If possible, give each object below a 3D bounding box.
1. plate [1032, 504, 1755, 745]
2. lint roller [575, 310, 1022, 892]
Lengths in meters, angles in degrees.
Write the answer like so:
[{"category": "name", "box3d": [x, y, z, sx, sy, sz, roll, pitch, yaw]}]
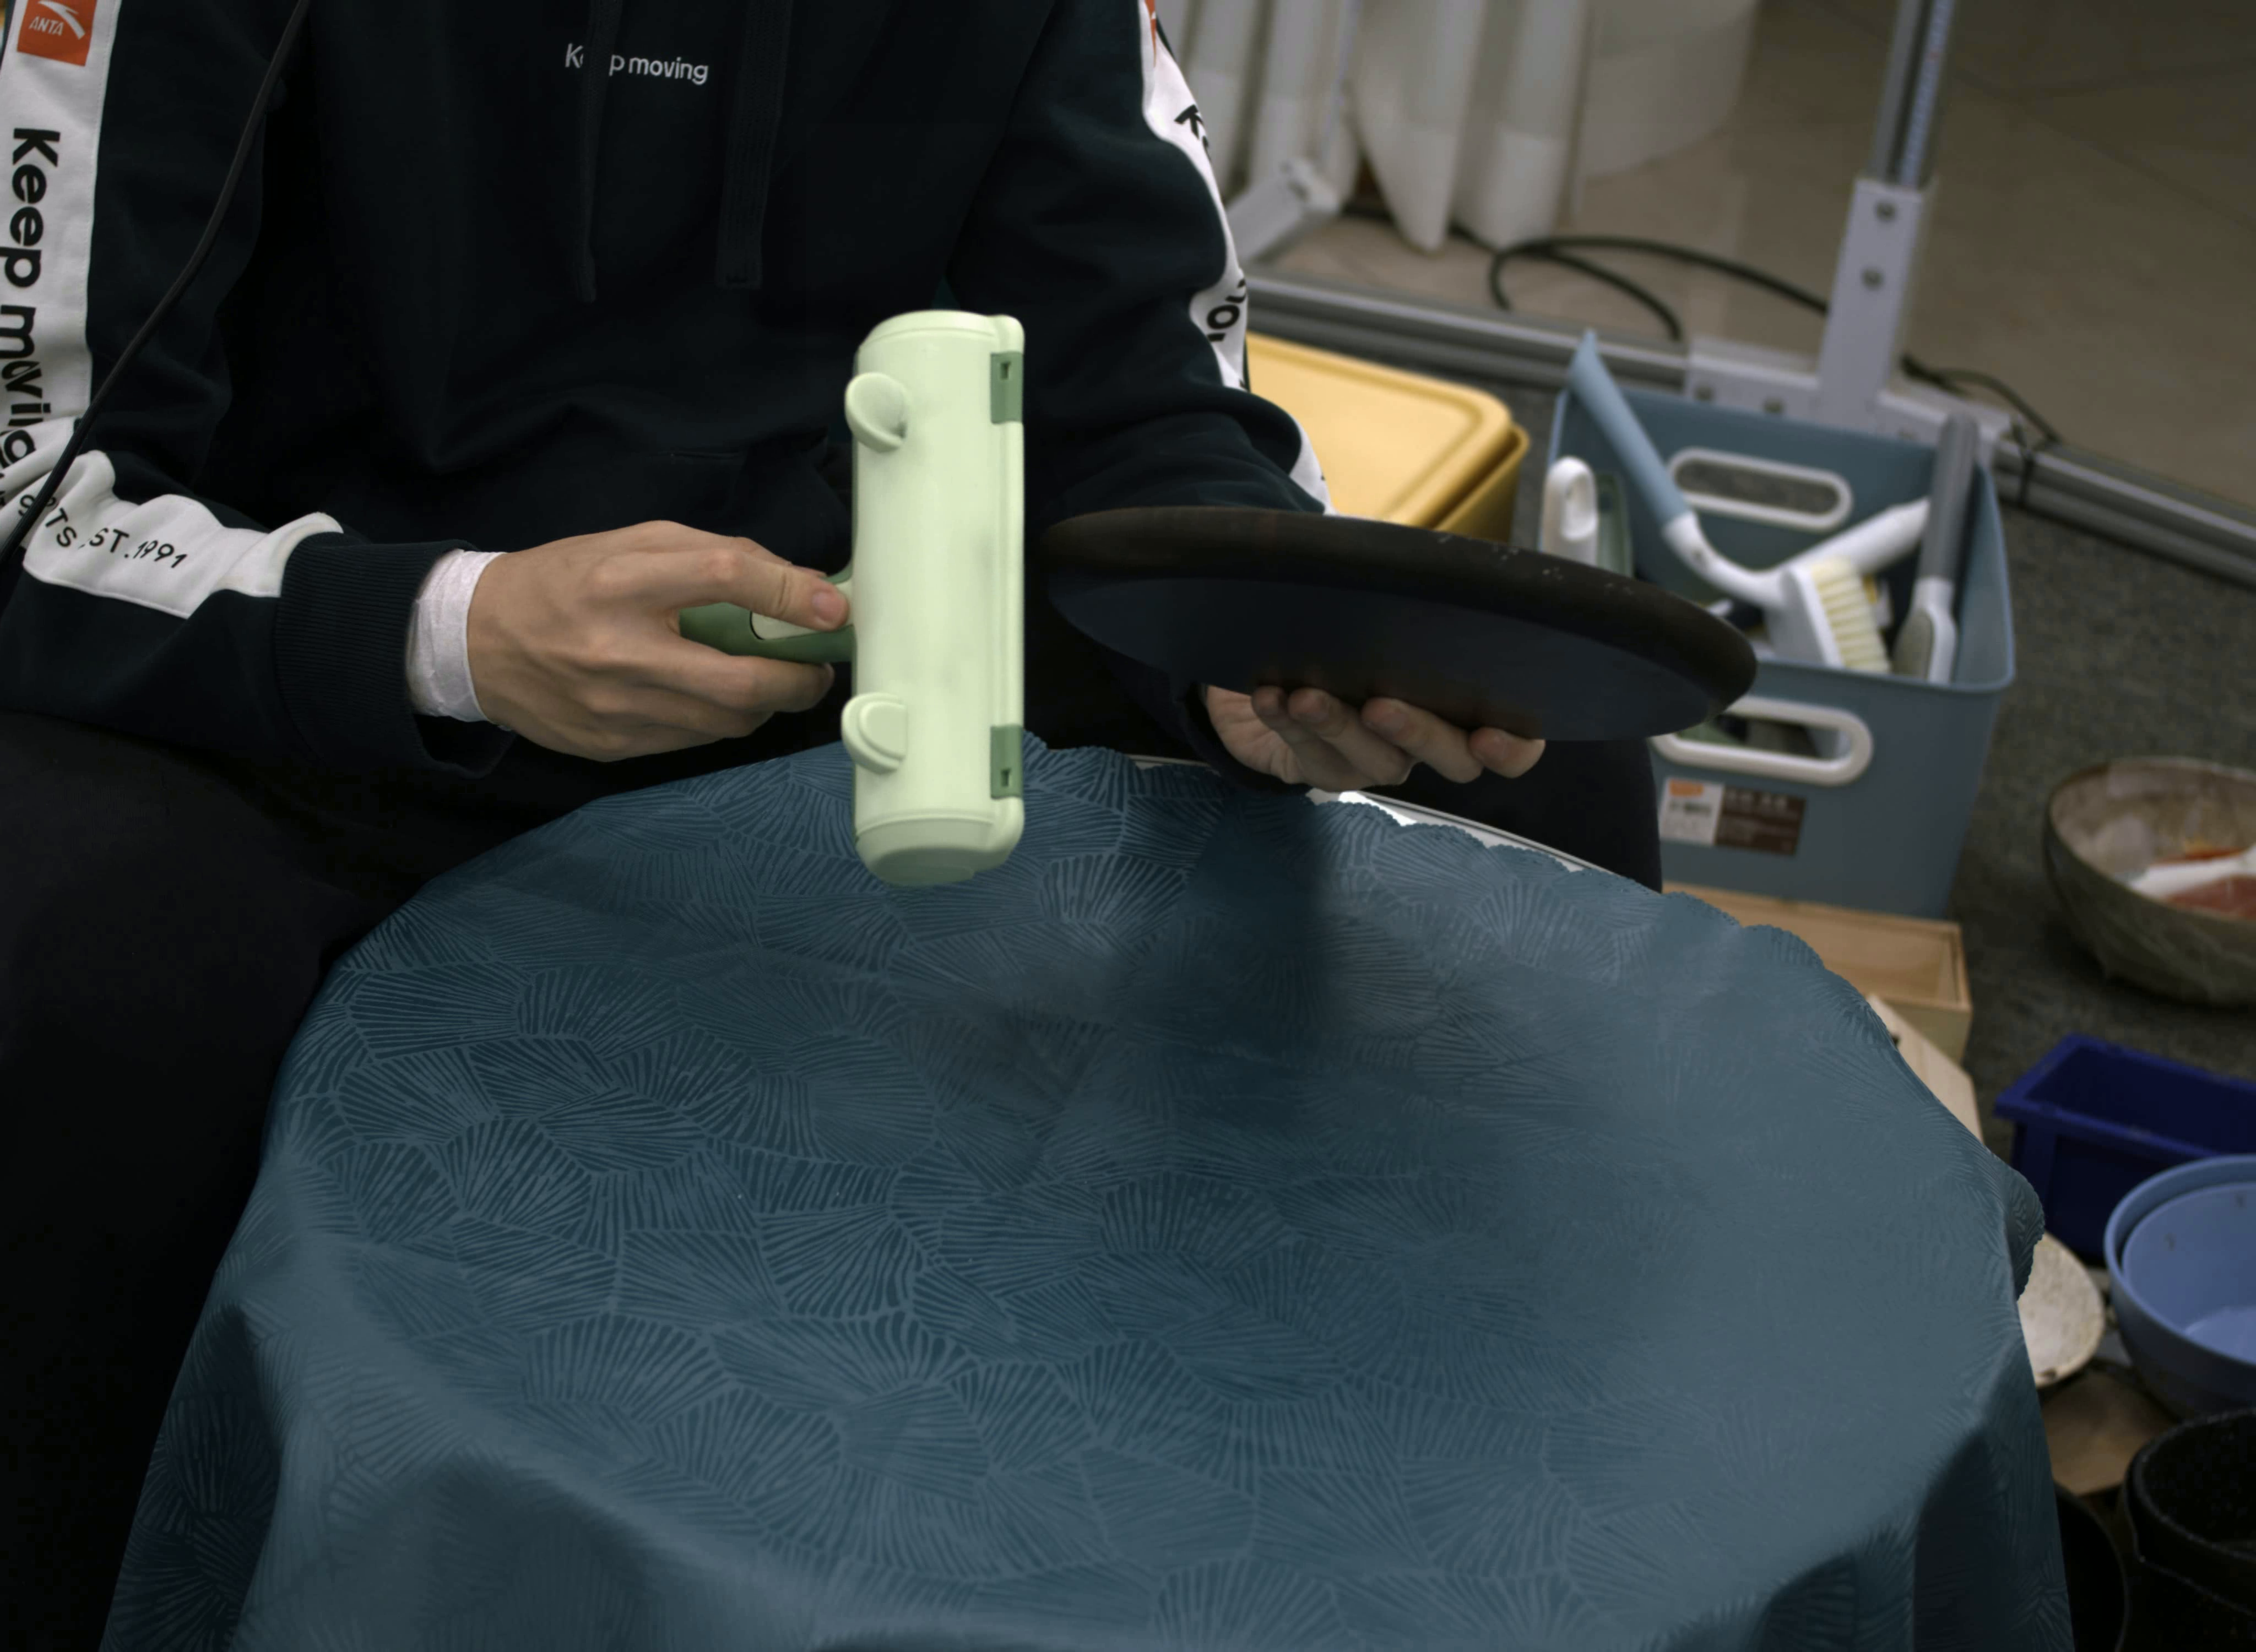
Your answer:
[{"category": "plate", "box3d": [0.090, -0.067, 1.842, 0.254, 0.029, 0.254, 9, -8, 1]}, {"category": "lint roller", "box3d": [-0.121, -0.073, 1.830, 0.183, 0.200, 0.081, -7, -19, 20]}]
